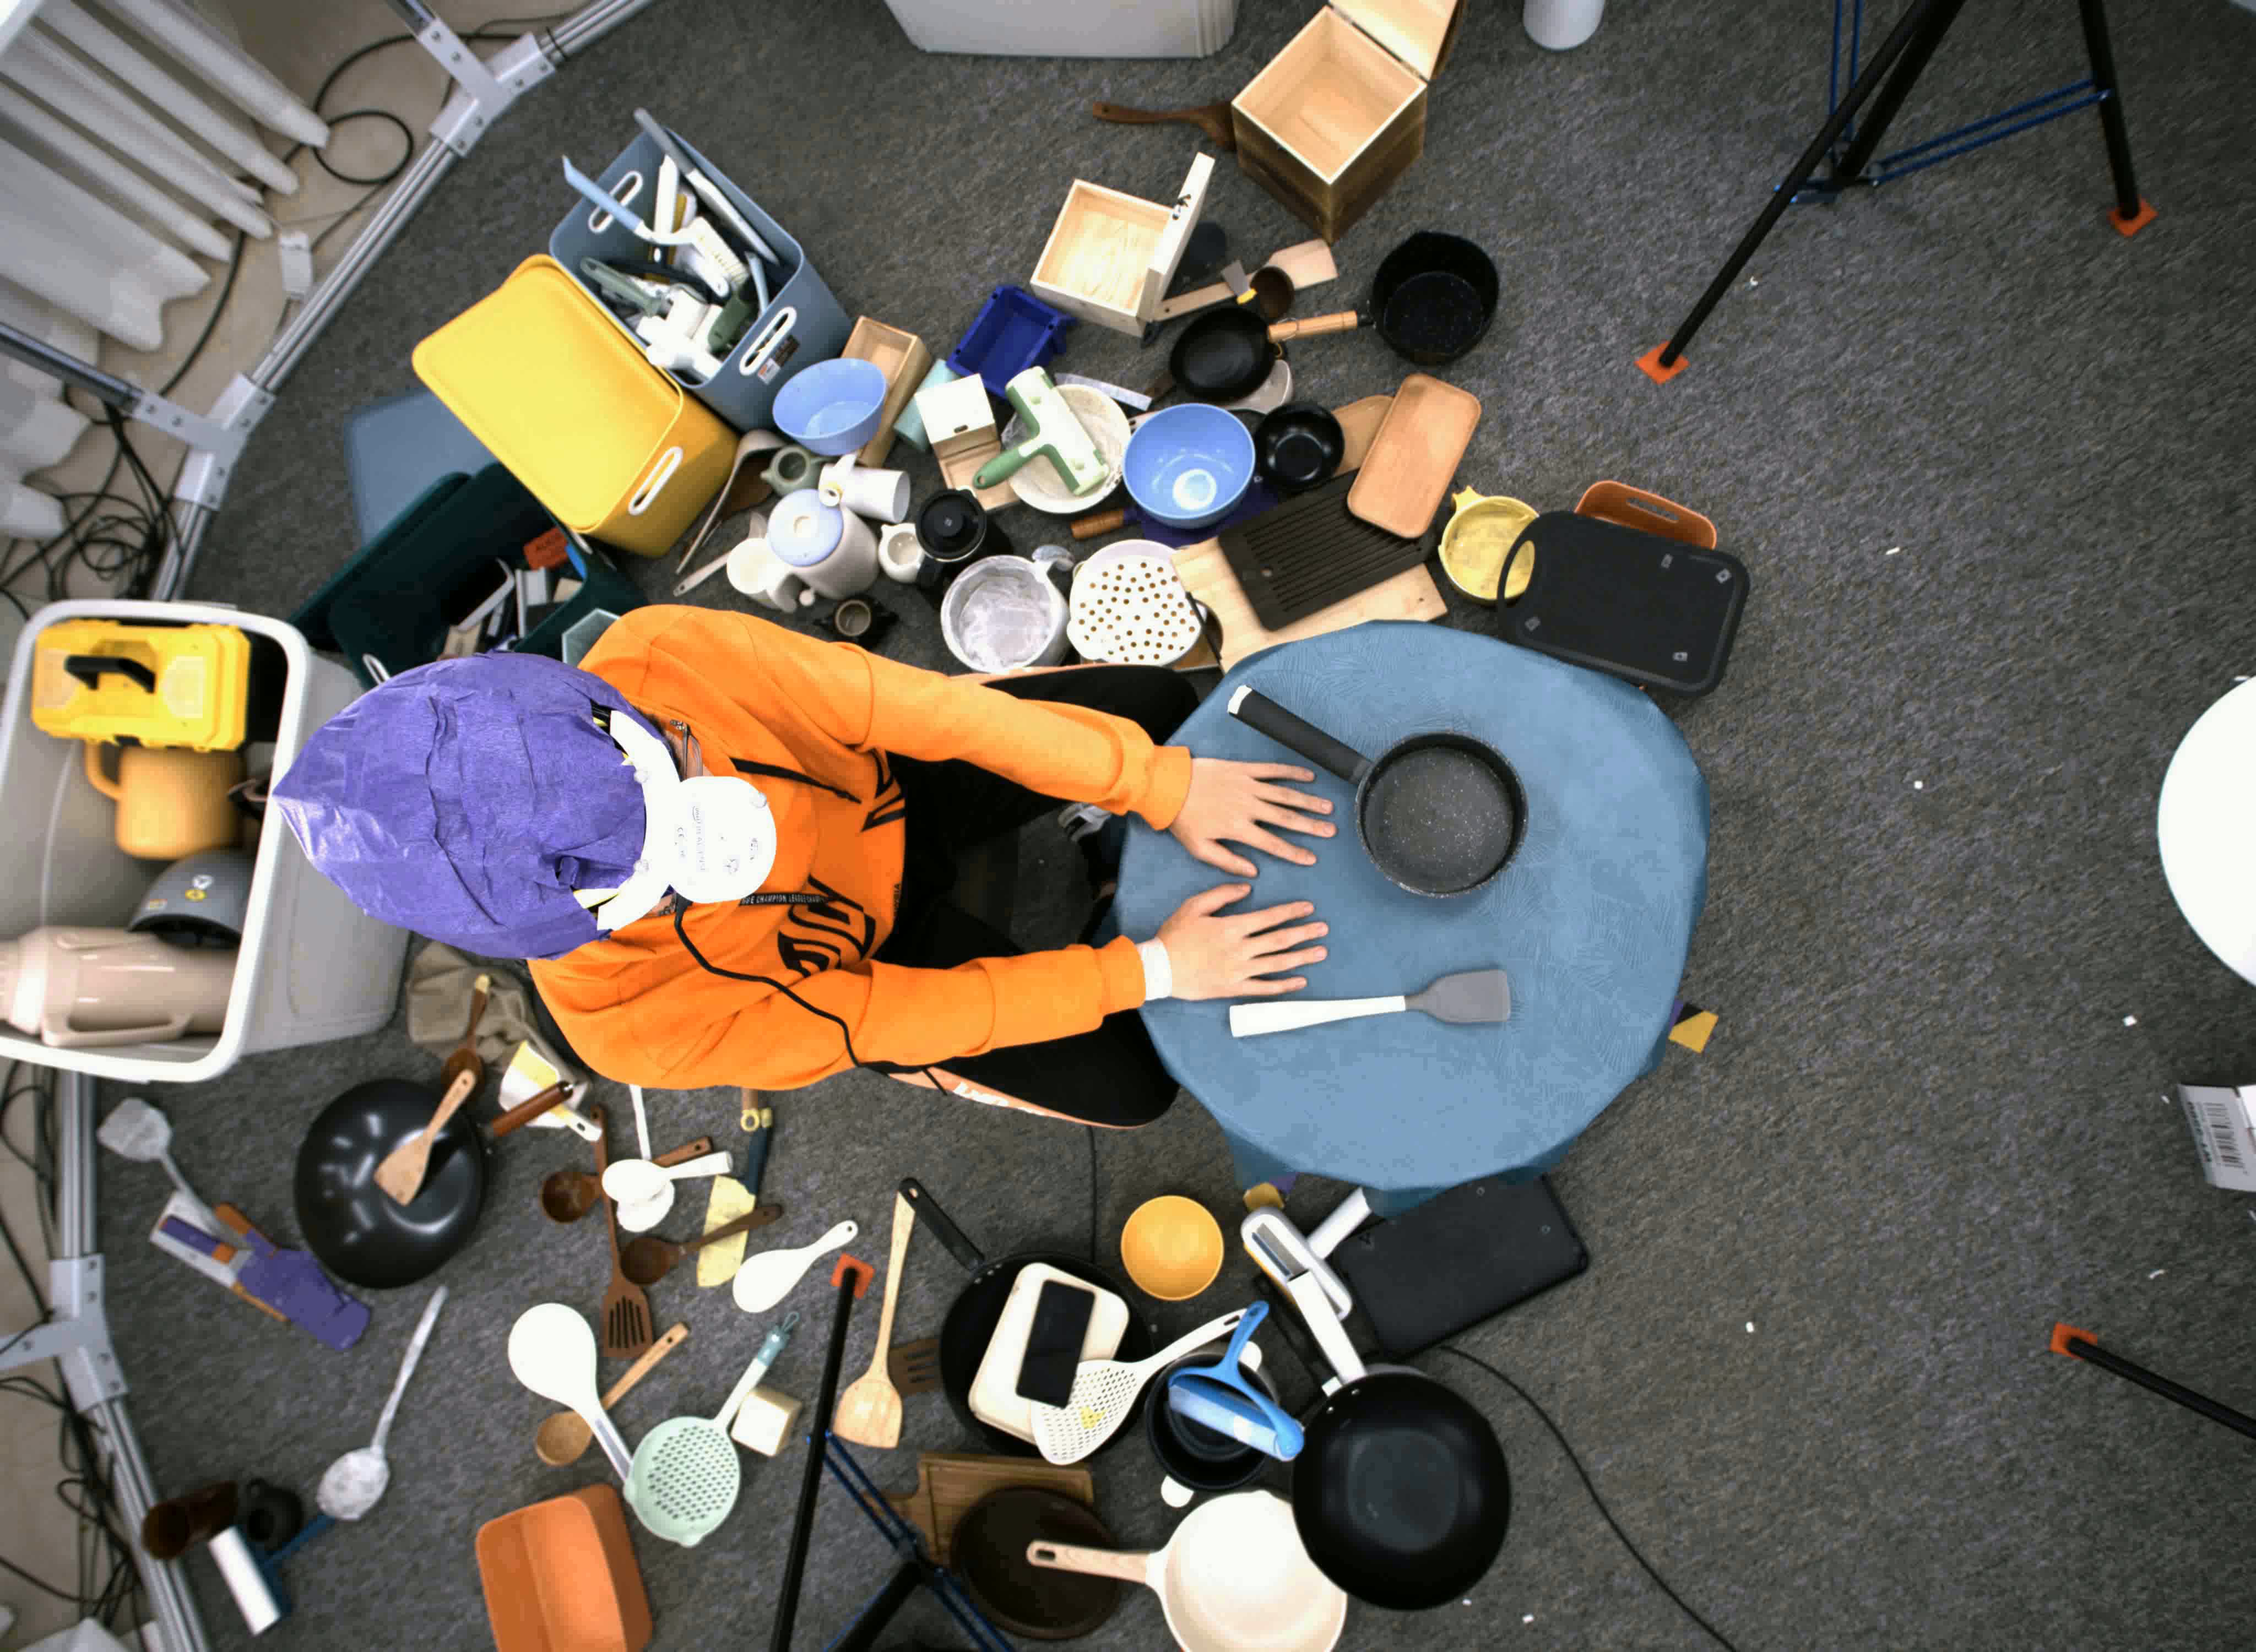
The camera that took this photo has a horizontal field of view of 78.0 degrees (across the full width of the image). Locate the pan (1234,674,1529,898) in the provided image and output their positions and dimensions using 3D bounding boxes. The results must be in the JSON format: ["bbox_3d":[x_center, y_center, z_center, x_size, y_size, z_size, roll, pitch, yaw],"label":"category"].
[{"bbox_3d":[0.254,-0.053,1.426,0.328,0.086,0.172,33,92,9],"label":"pan"}]

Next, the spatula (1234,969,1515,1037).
[{"bbox_3d":[0.254,0.188,1.440,0.289,0.032,0.058,-7,82,11],"label":"spatula"}]
